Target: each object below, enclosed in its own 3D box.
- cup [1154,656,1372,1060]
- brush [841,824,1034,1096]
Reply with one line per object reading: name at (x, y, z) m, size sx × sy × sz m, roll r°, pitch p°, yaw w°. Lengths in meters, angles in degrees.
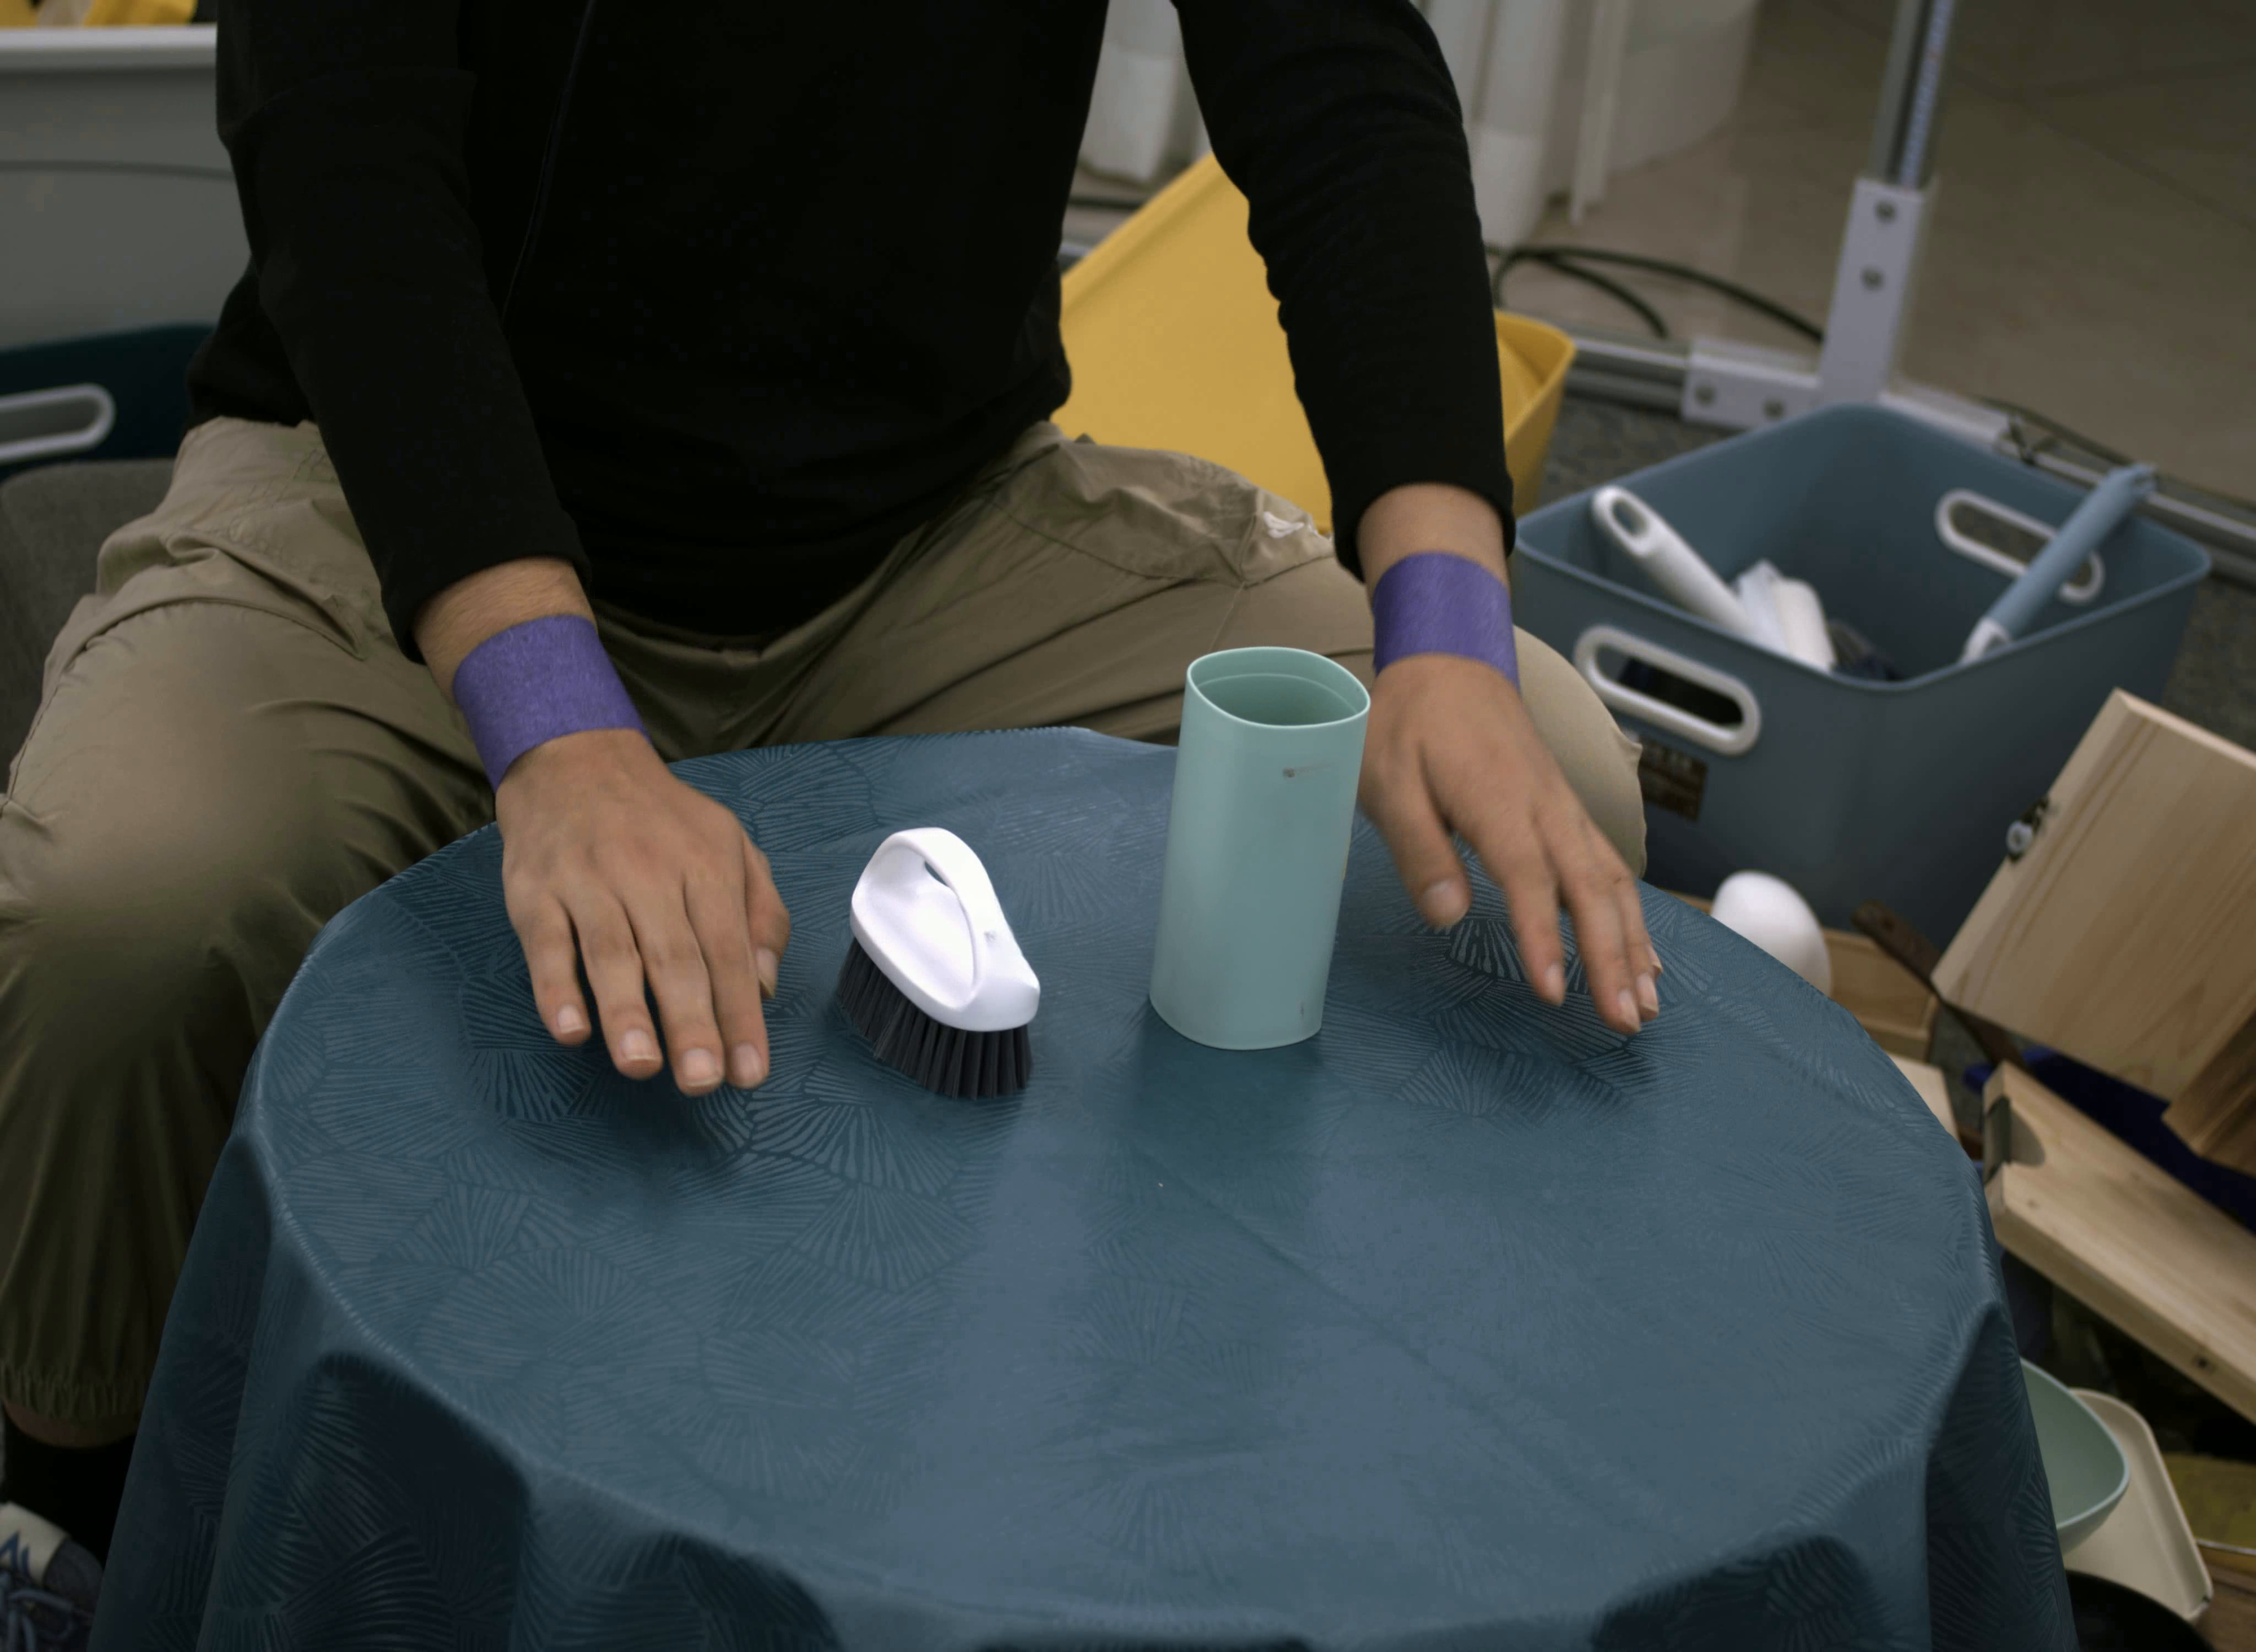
cup at (0.046, 0.011, 1.896) m, size 0.066 × 0.132 × 0.067 m, roll 5°, pitch 27°, yaw -3°
brush at (-0.066, 0.040, 1.868) m, size 0.050 × 0.072 × 0.100 m, roll -5°, pitch 30°, yaw -25°
